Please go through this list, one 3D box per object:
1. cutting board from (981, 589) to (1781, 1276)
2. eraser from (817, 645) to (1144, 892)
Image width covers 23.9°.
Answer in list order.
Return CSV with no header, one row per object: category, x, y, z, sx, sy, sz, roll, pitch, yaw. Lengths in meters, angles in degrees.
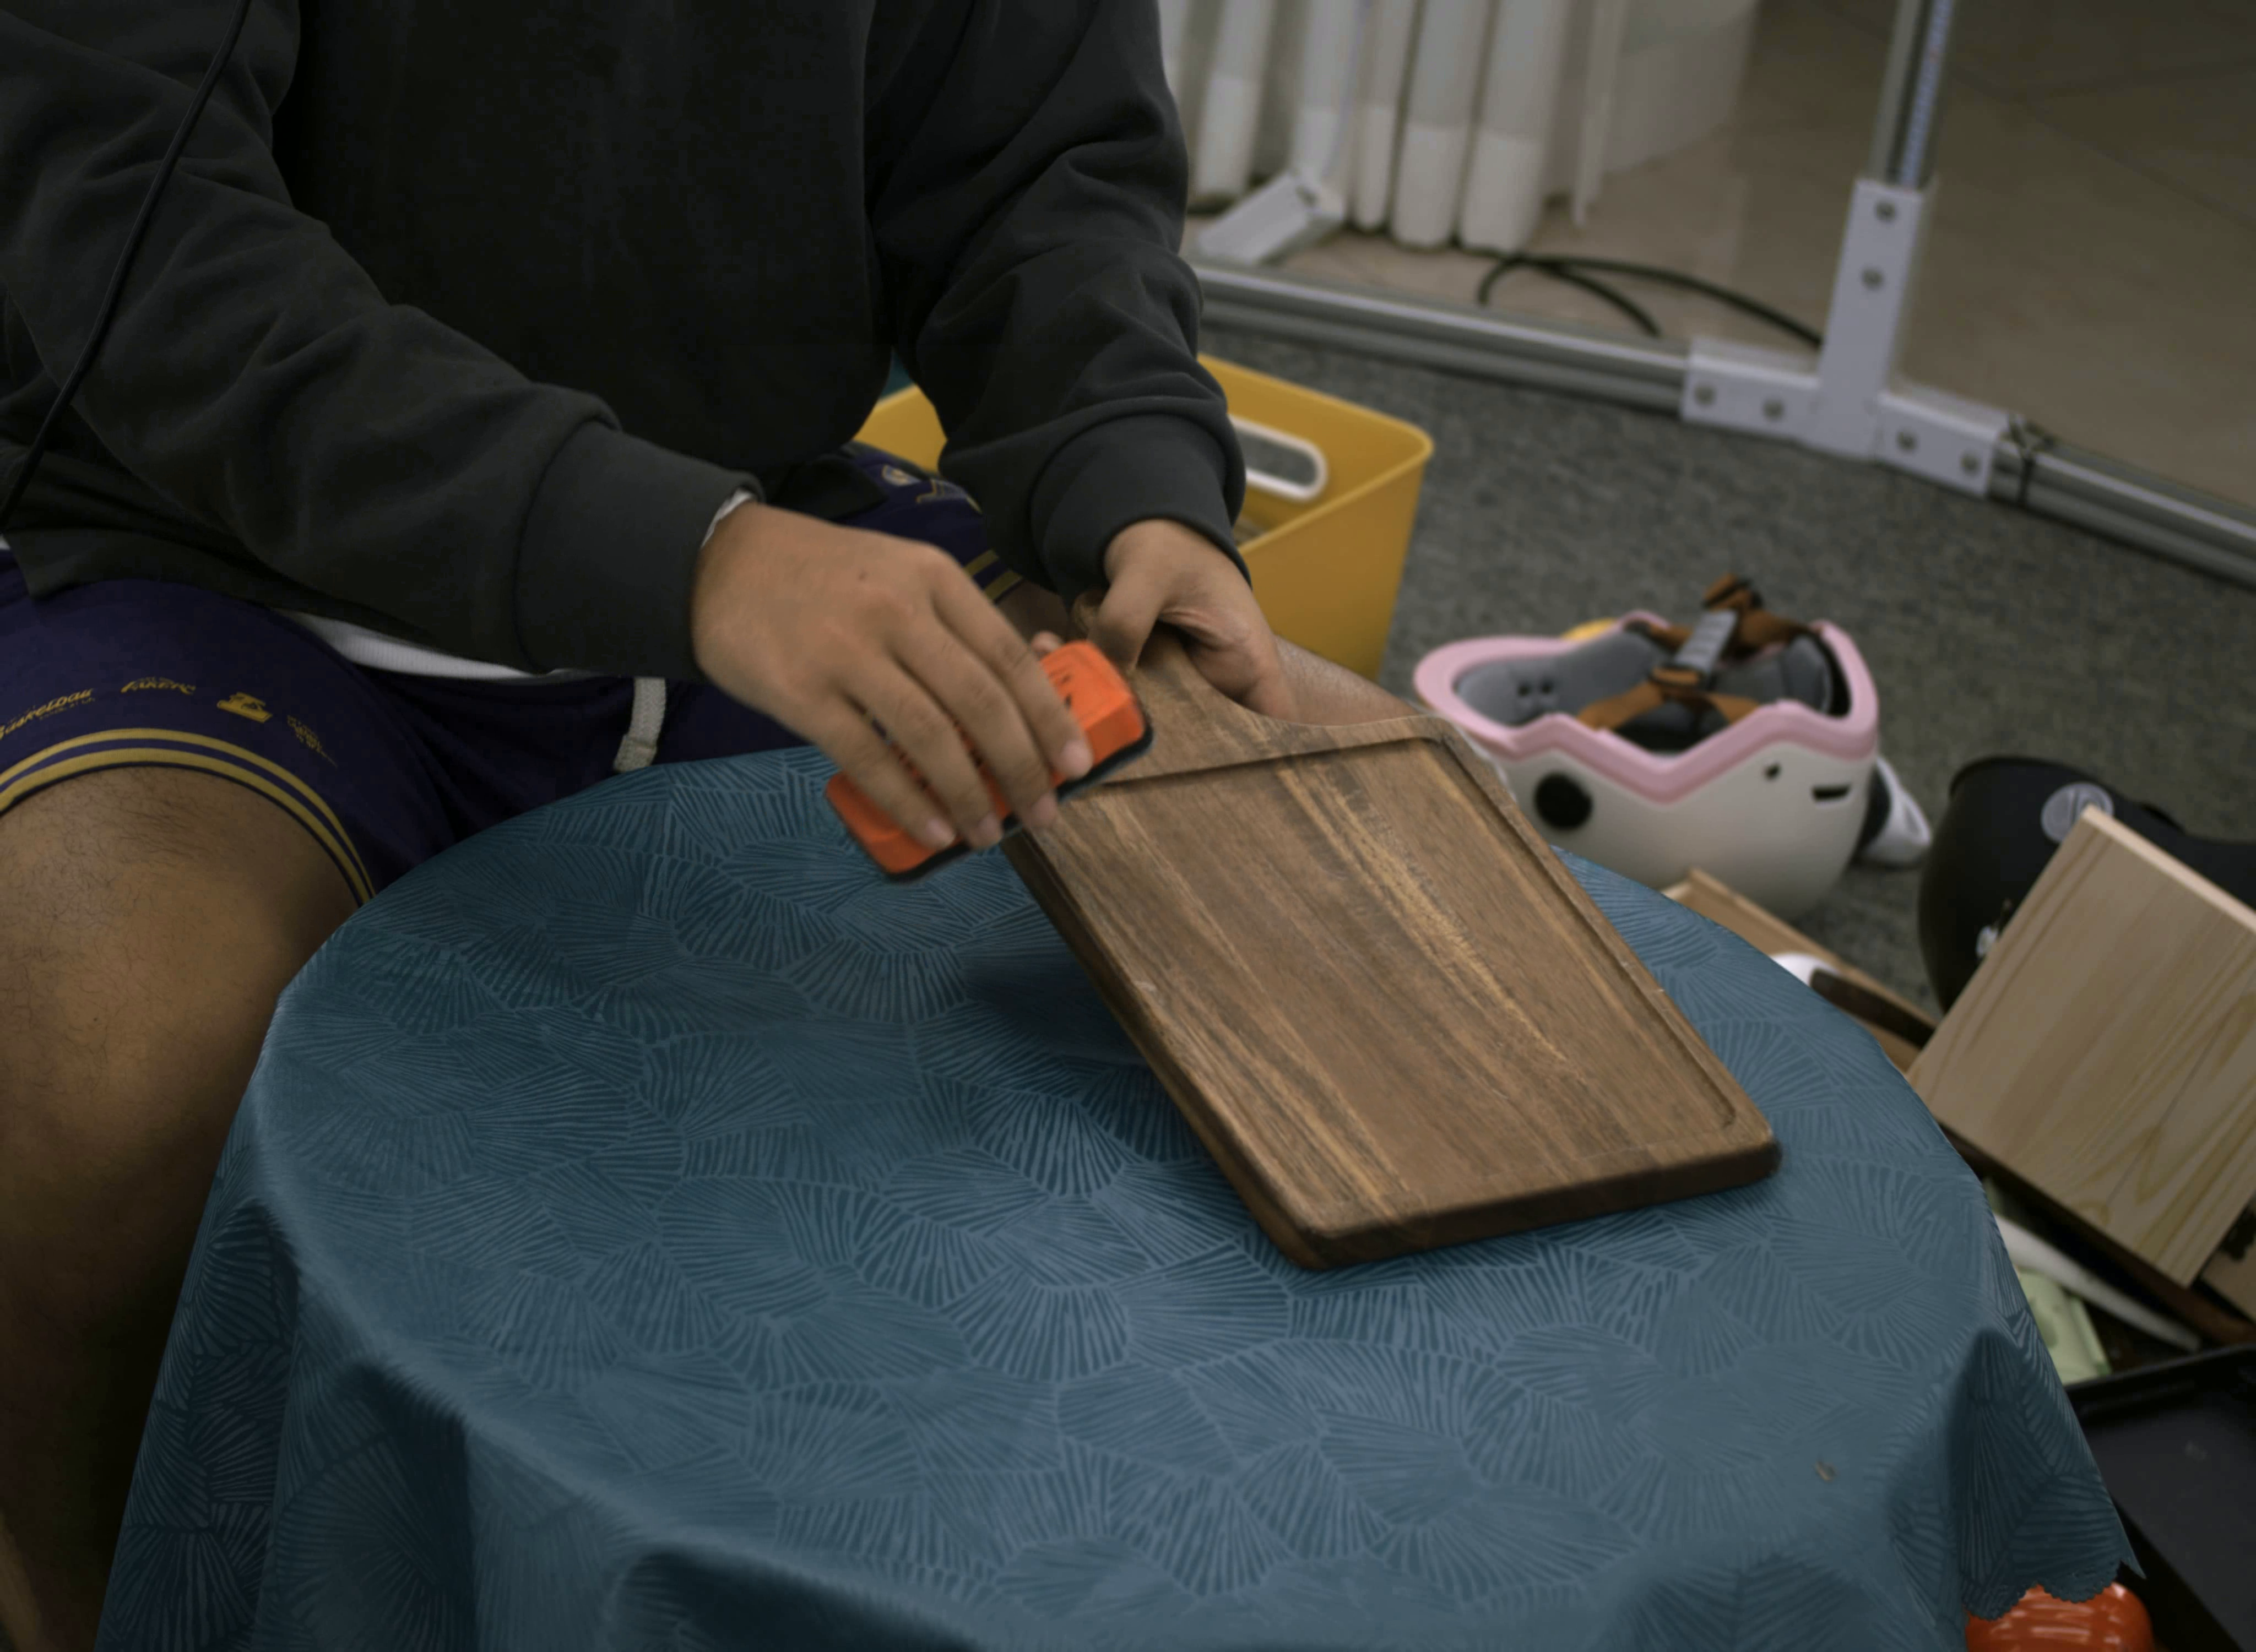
cutting board,0.065,0.024,1.917,0.200,0.023,0.355,-9,42,-28
eraser,-0.051,-0.020,1.848,0.108,0.023,0.059,-30,32,-10
